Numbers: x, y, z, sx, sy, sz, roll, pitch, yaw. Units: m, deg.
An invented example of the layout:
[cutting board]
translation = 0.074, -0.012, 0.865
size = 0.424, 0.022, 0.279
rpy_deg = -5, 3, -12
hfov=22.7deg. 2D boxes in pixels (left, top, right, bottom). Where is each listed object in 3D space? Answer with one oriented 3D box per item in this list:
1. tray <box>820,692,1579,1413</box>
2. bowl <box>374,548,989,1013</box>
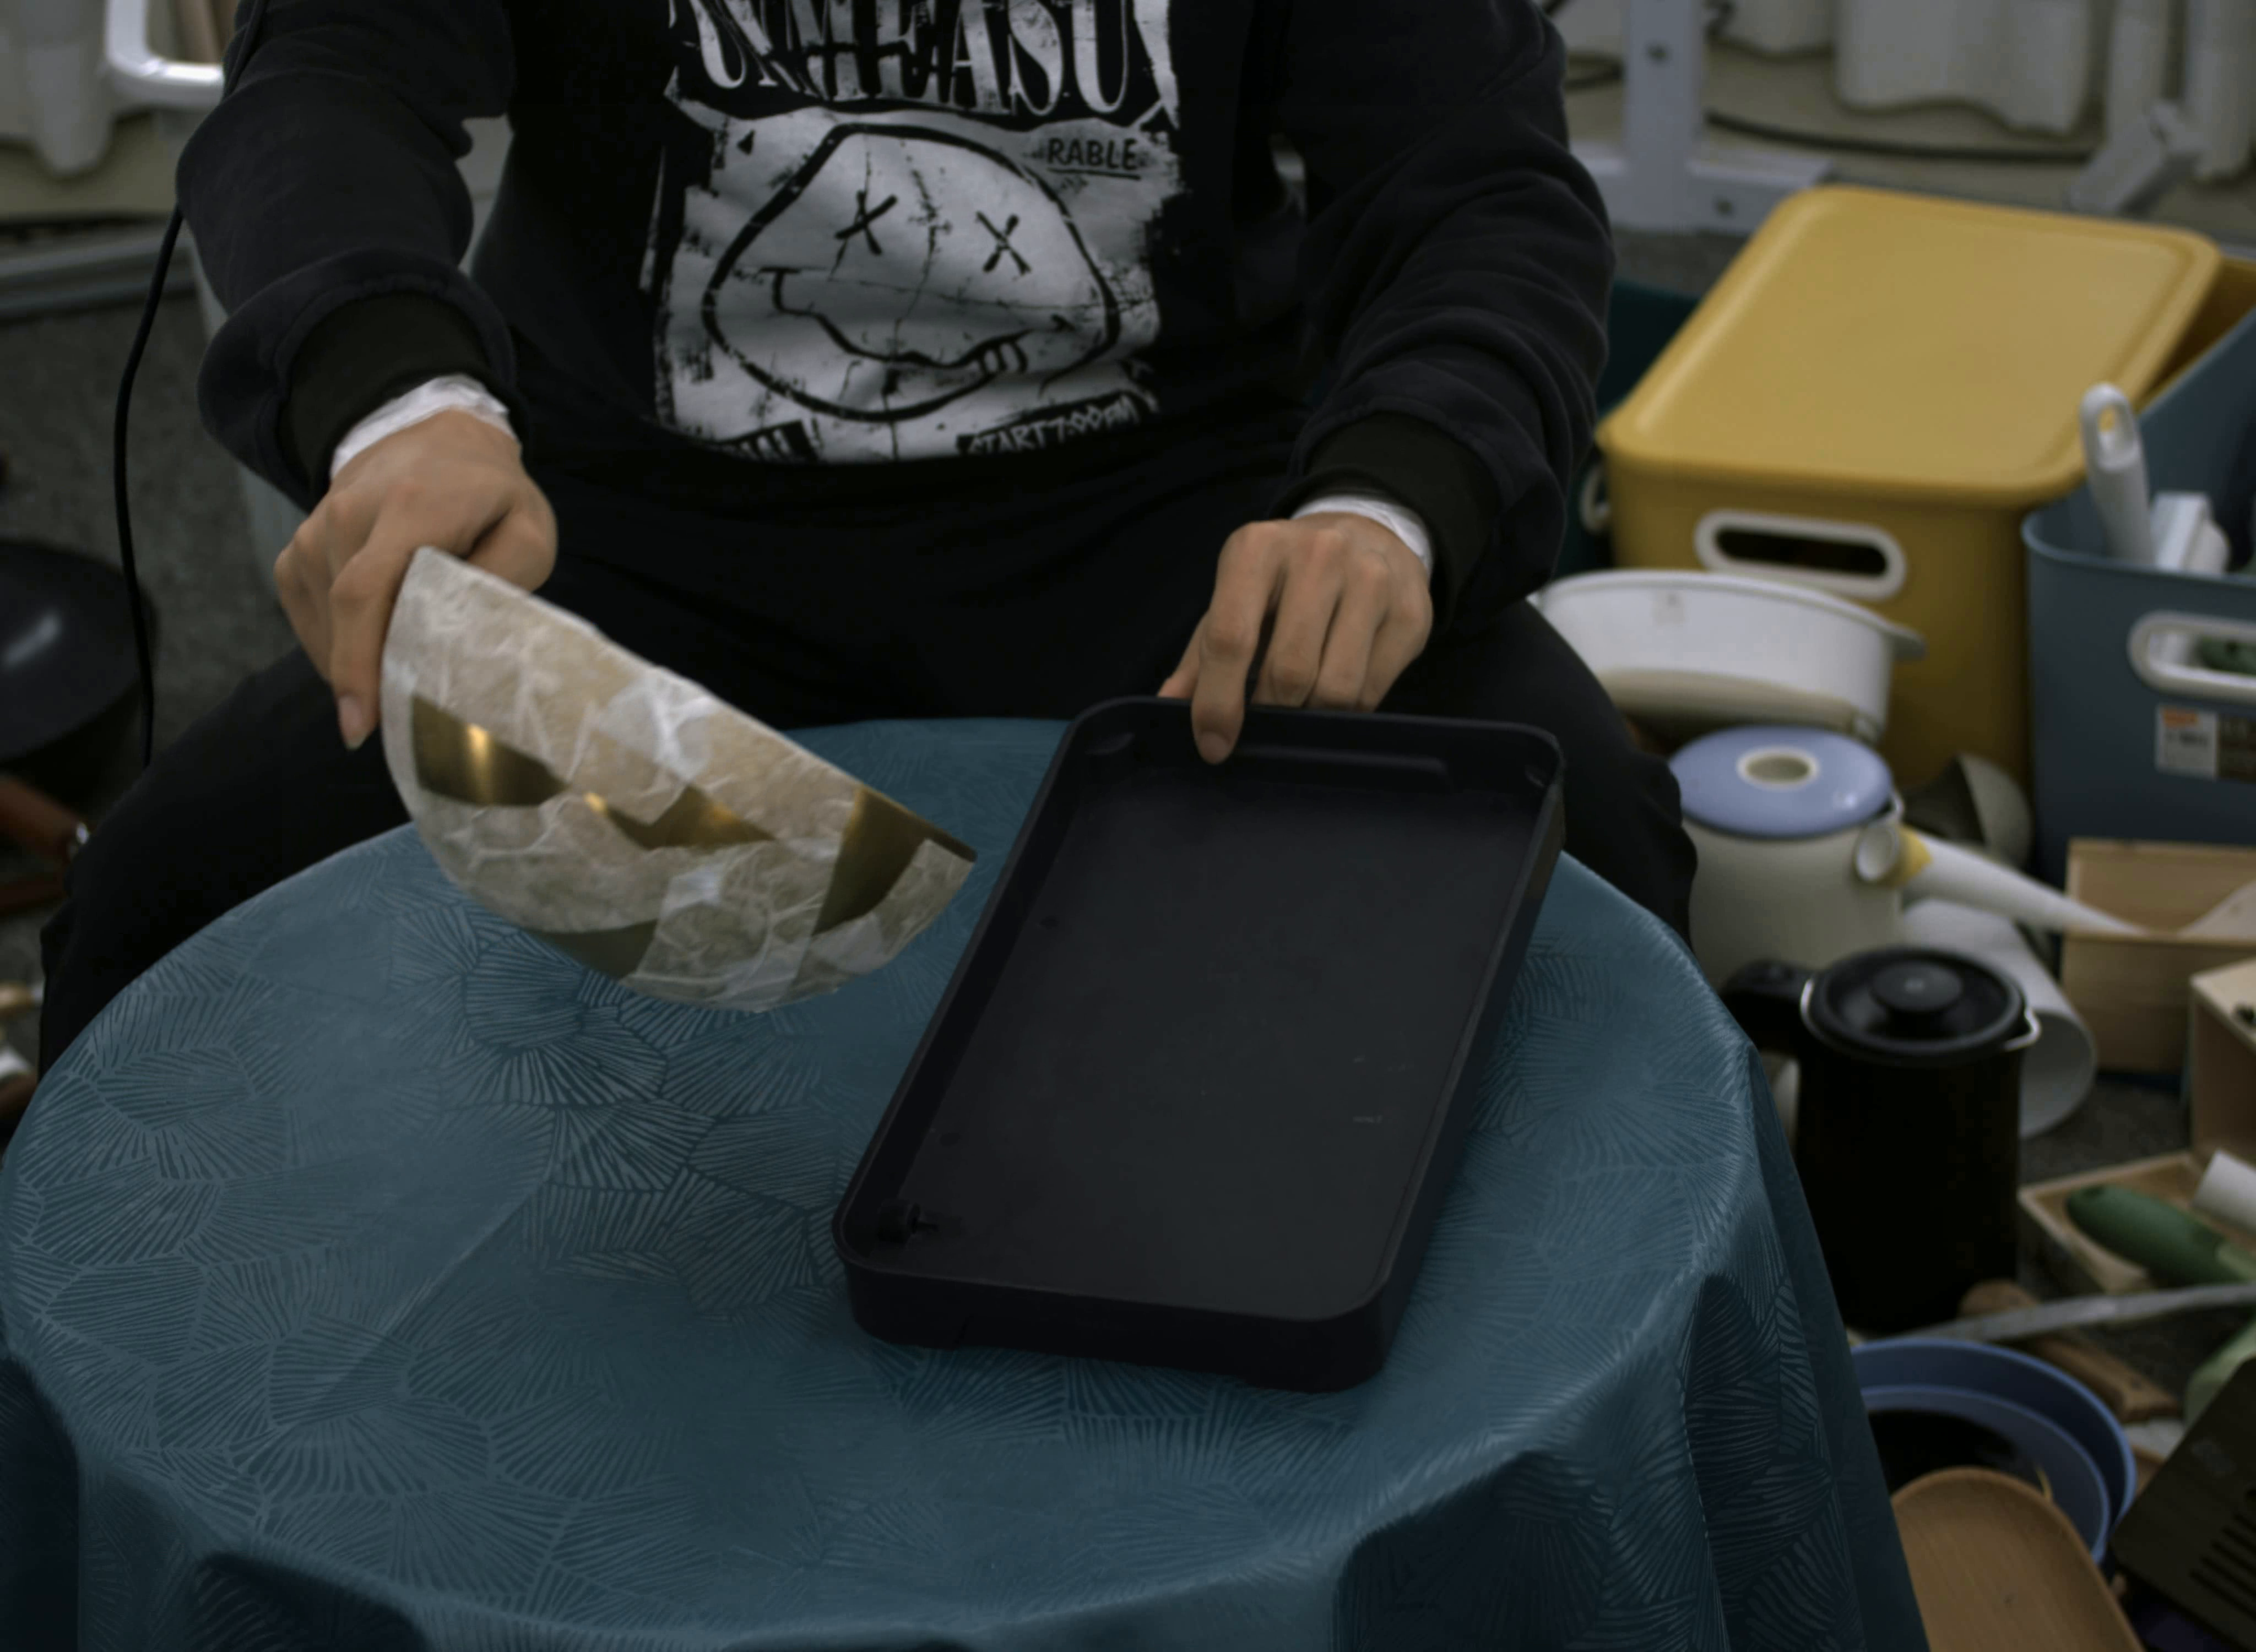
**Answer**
[tray]
translation = 0.031, 0.068, 1.881
size = 0.183, 0.036, 0.324
rpy_deg = 7, 38, 16
[bowl]
translation = -0.153, 0.001, 1.767
size = 0.214, 0.095, 0.214
rpy_deg = 27, -3, 2
